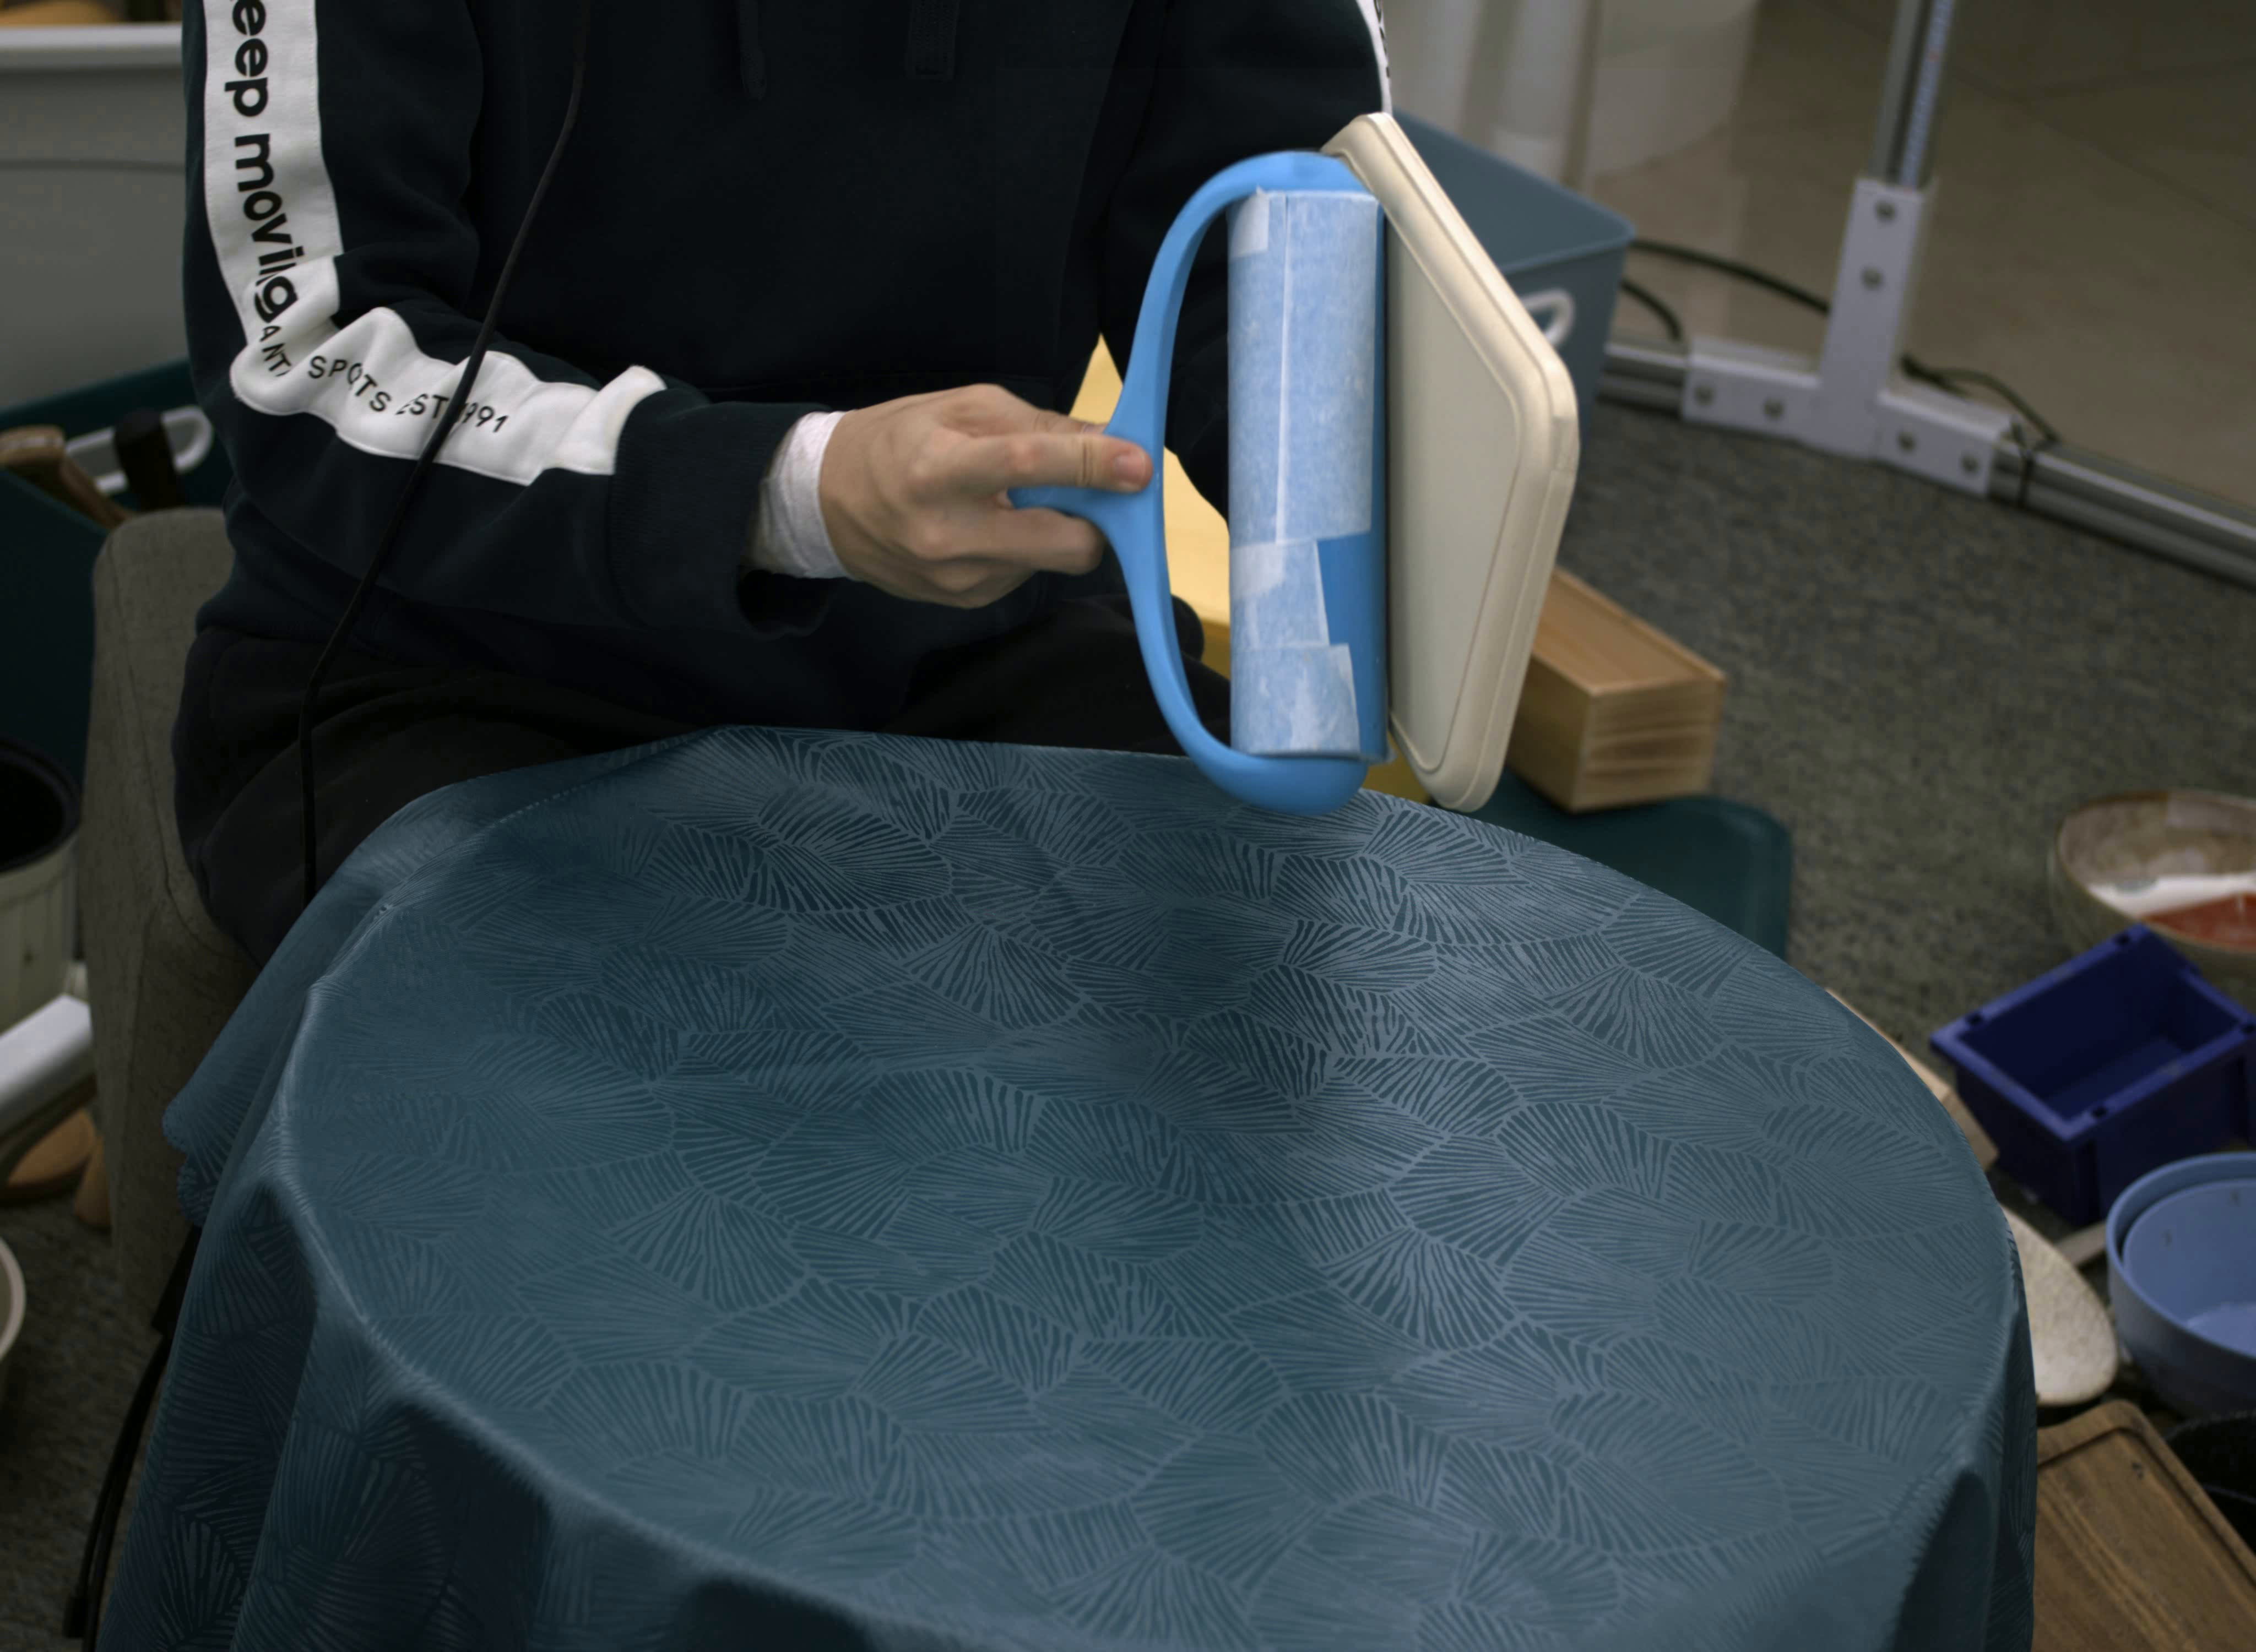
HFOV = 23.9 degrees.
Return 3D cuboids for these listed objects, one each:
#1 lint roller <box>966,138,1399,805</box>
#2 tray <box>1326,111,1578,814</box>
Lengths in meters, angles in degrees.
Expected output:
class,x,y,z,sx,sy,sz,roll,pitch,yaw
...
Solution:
class,x,y,z,sx,sy,sz,roll,pitch,yaw
lint roller,0.010,-0.115,1.842,0.180,0.230,0.067,-7,-7,27
tray,0.094,-0.128,1.830,0.017,0.171,0.242,1,32,-19
